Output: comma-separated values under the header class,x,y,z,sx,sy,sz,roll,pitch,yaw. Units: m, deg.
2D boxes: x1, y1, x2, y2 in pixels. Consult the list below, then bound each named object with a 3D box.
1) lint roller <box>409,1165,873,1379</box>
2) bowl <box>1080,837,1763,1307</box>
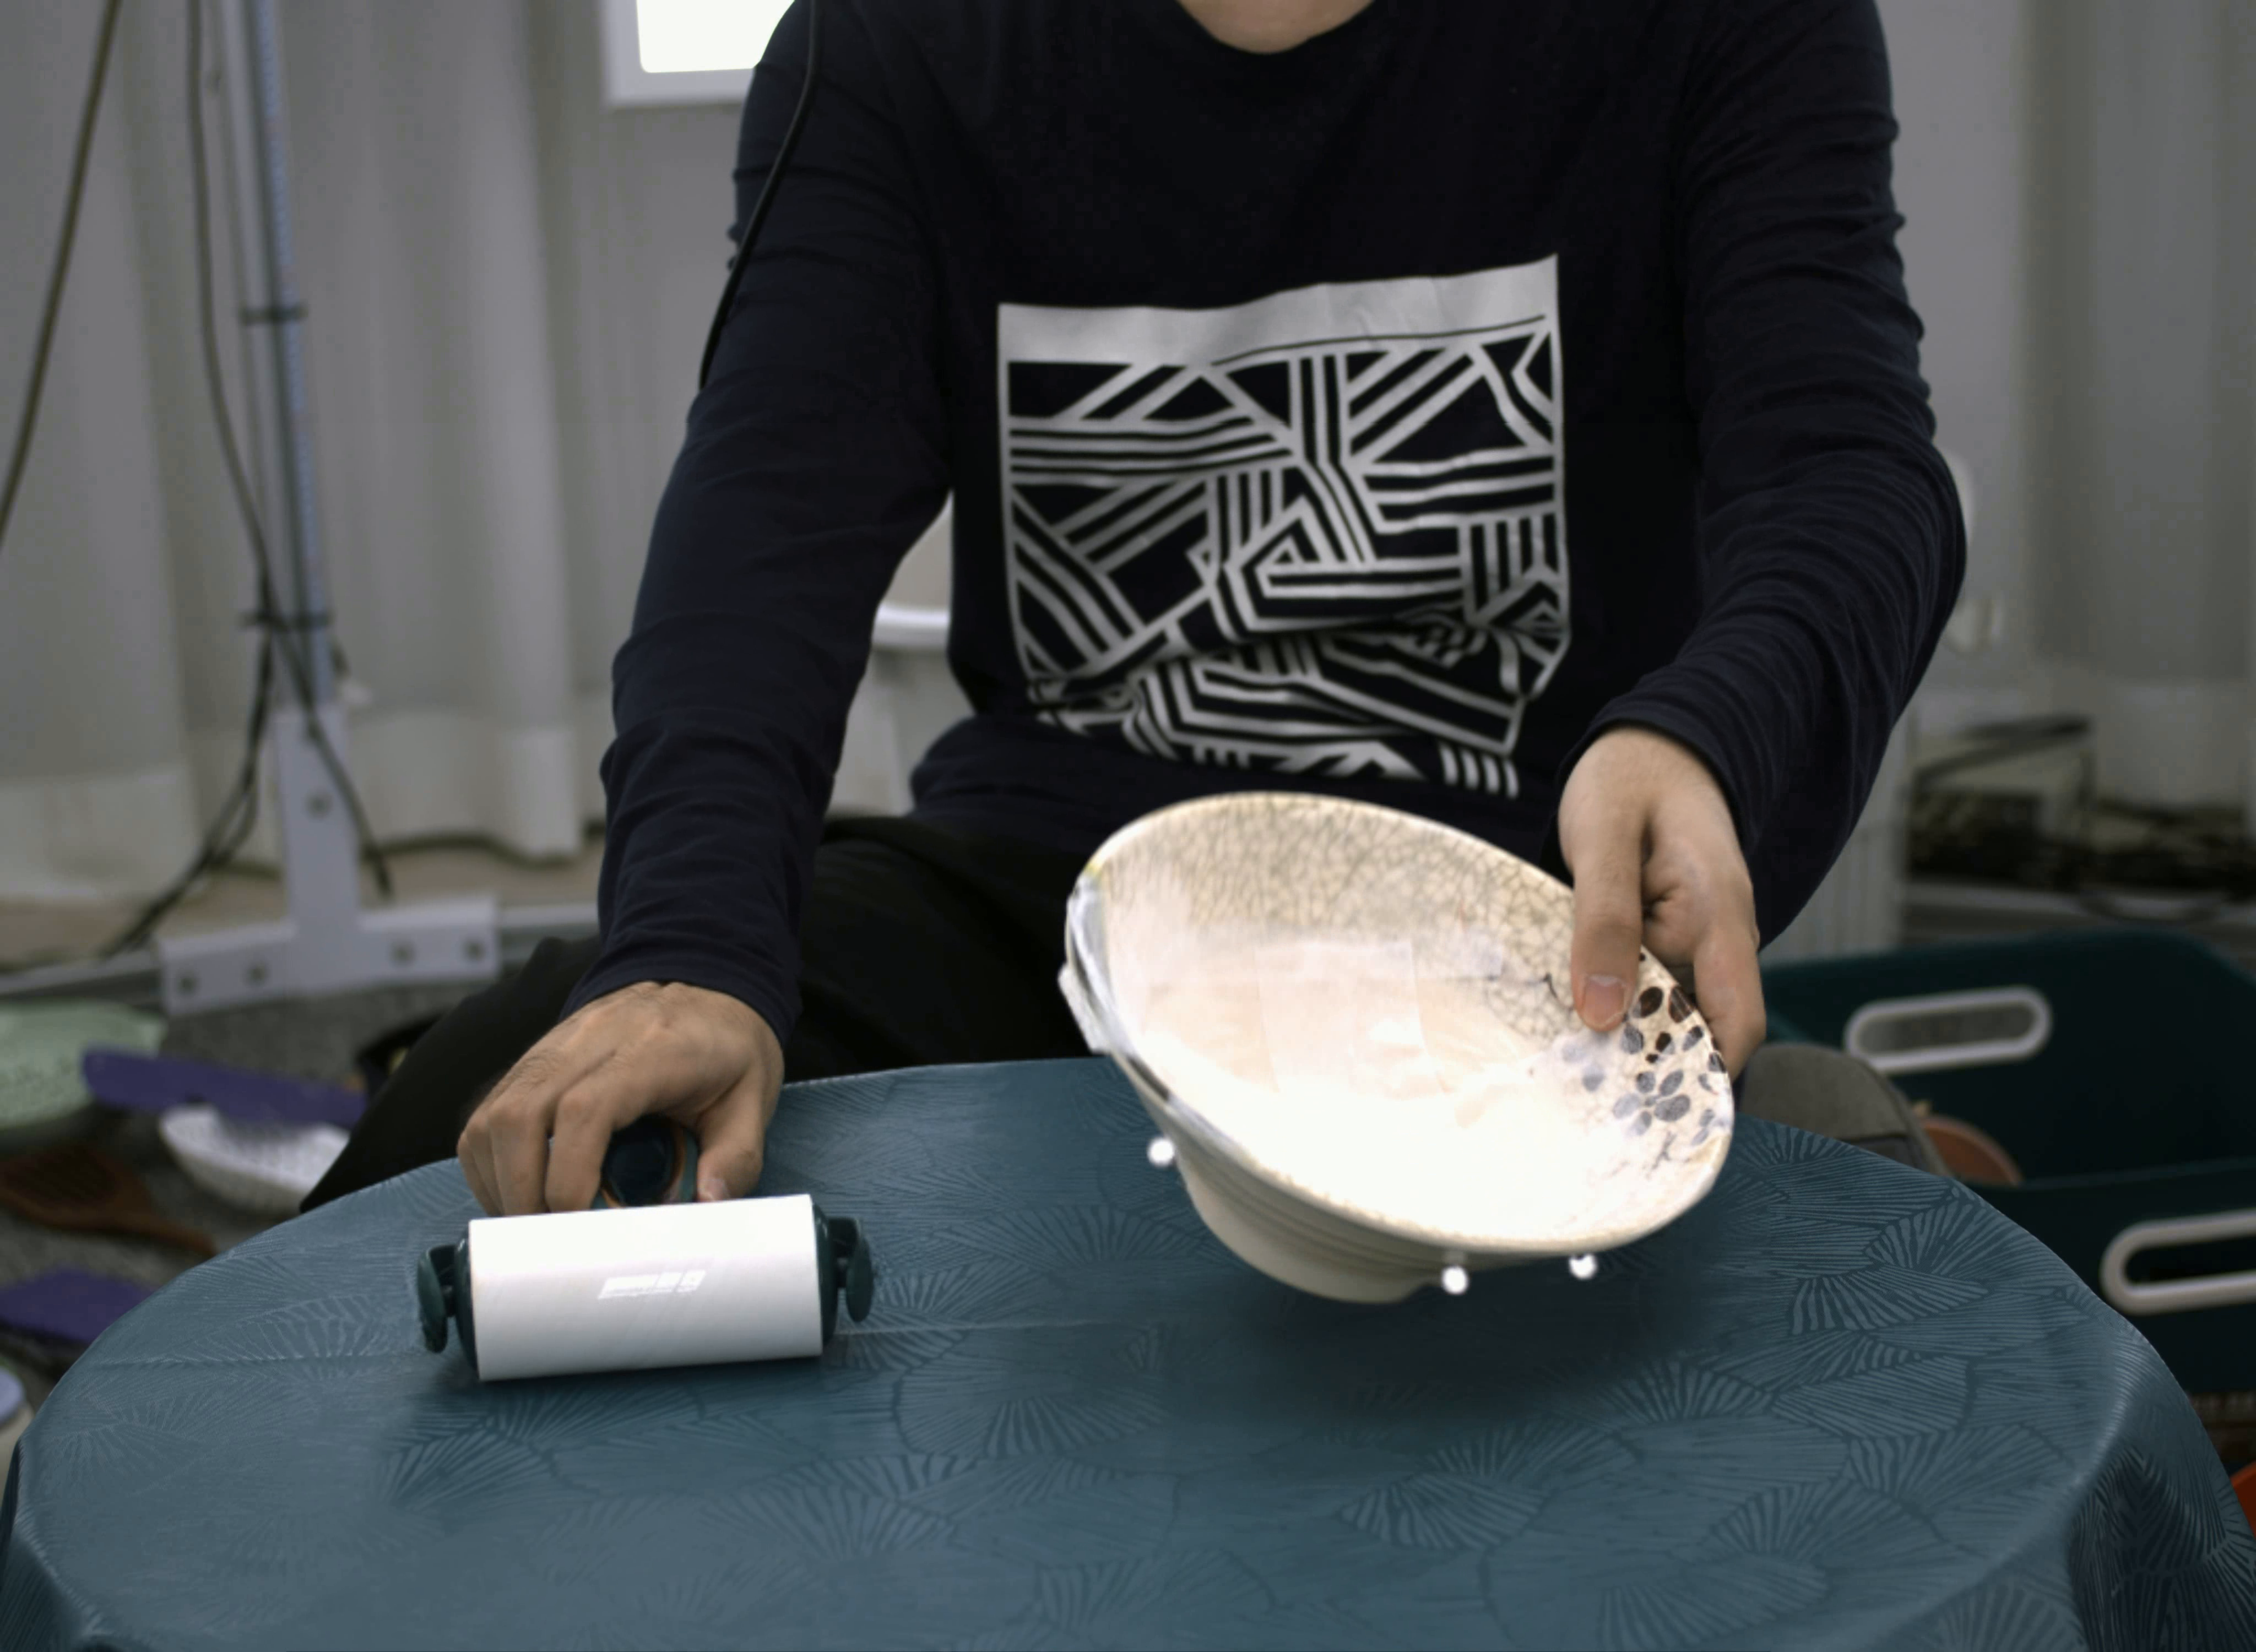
class,x,y,z,sx,sy,sz,roll,pitch,yaw
lint roller,-0.147,0.115,1.644,0.134,0.048,0.181,-4,16,-5
bowl,0.076,0.084,1.587,0.203,0.077,0.206,12,23,-5
